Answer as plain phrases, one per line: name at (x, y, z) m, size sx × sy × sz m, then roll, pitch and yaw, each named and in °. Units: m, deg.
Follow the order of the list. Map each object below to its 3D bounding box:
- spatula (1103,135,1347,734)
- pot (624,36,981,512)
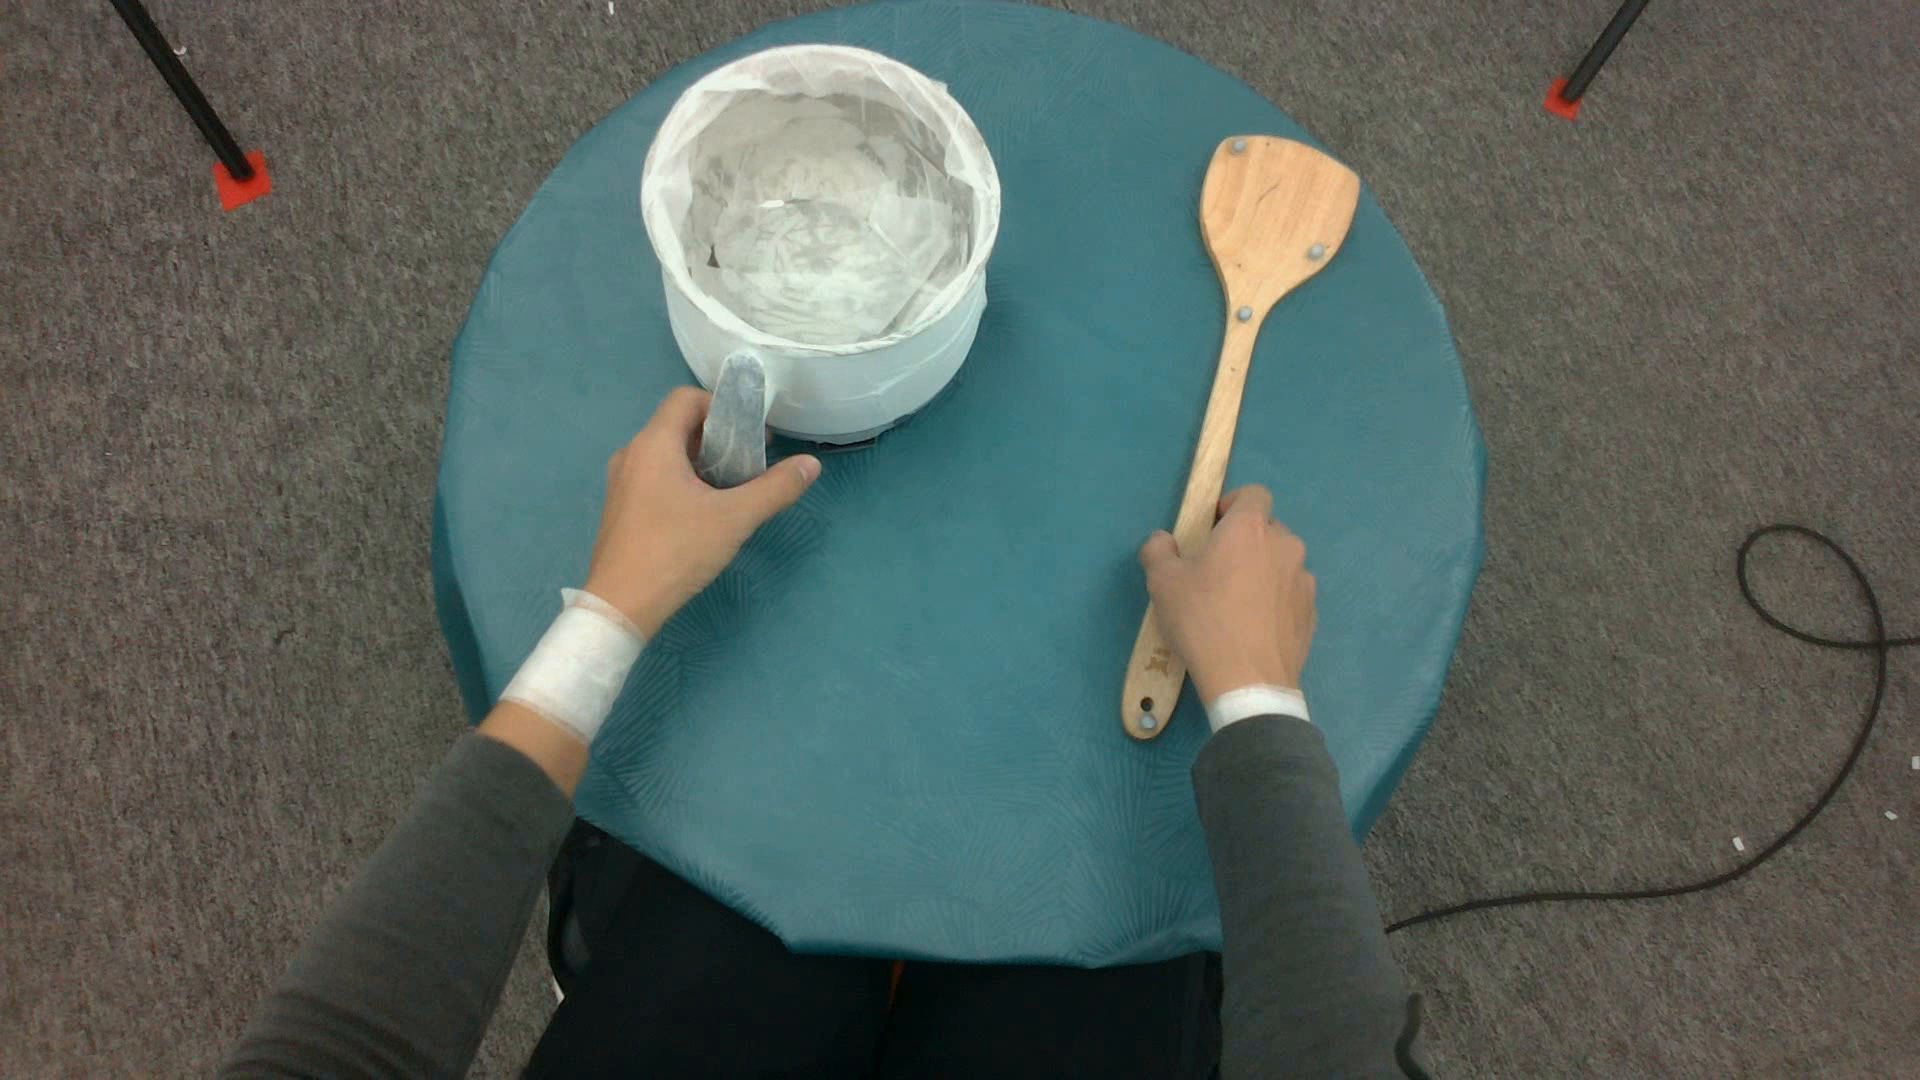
spatula at (0.146, -0.072, 0.802) m, size 0.096 × 0.018 × 0.392 m, roll 17°, pitch 69°, yaw 0°
pot at (-0.092, -0.133, 0.735) m, size 0.179 × 0.136 × 0.234 m, roll 19°, pitch 70°, yaw 1°
